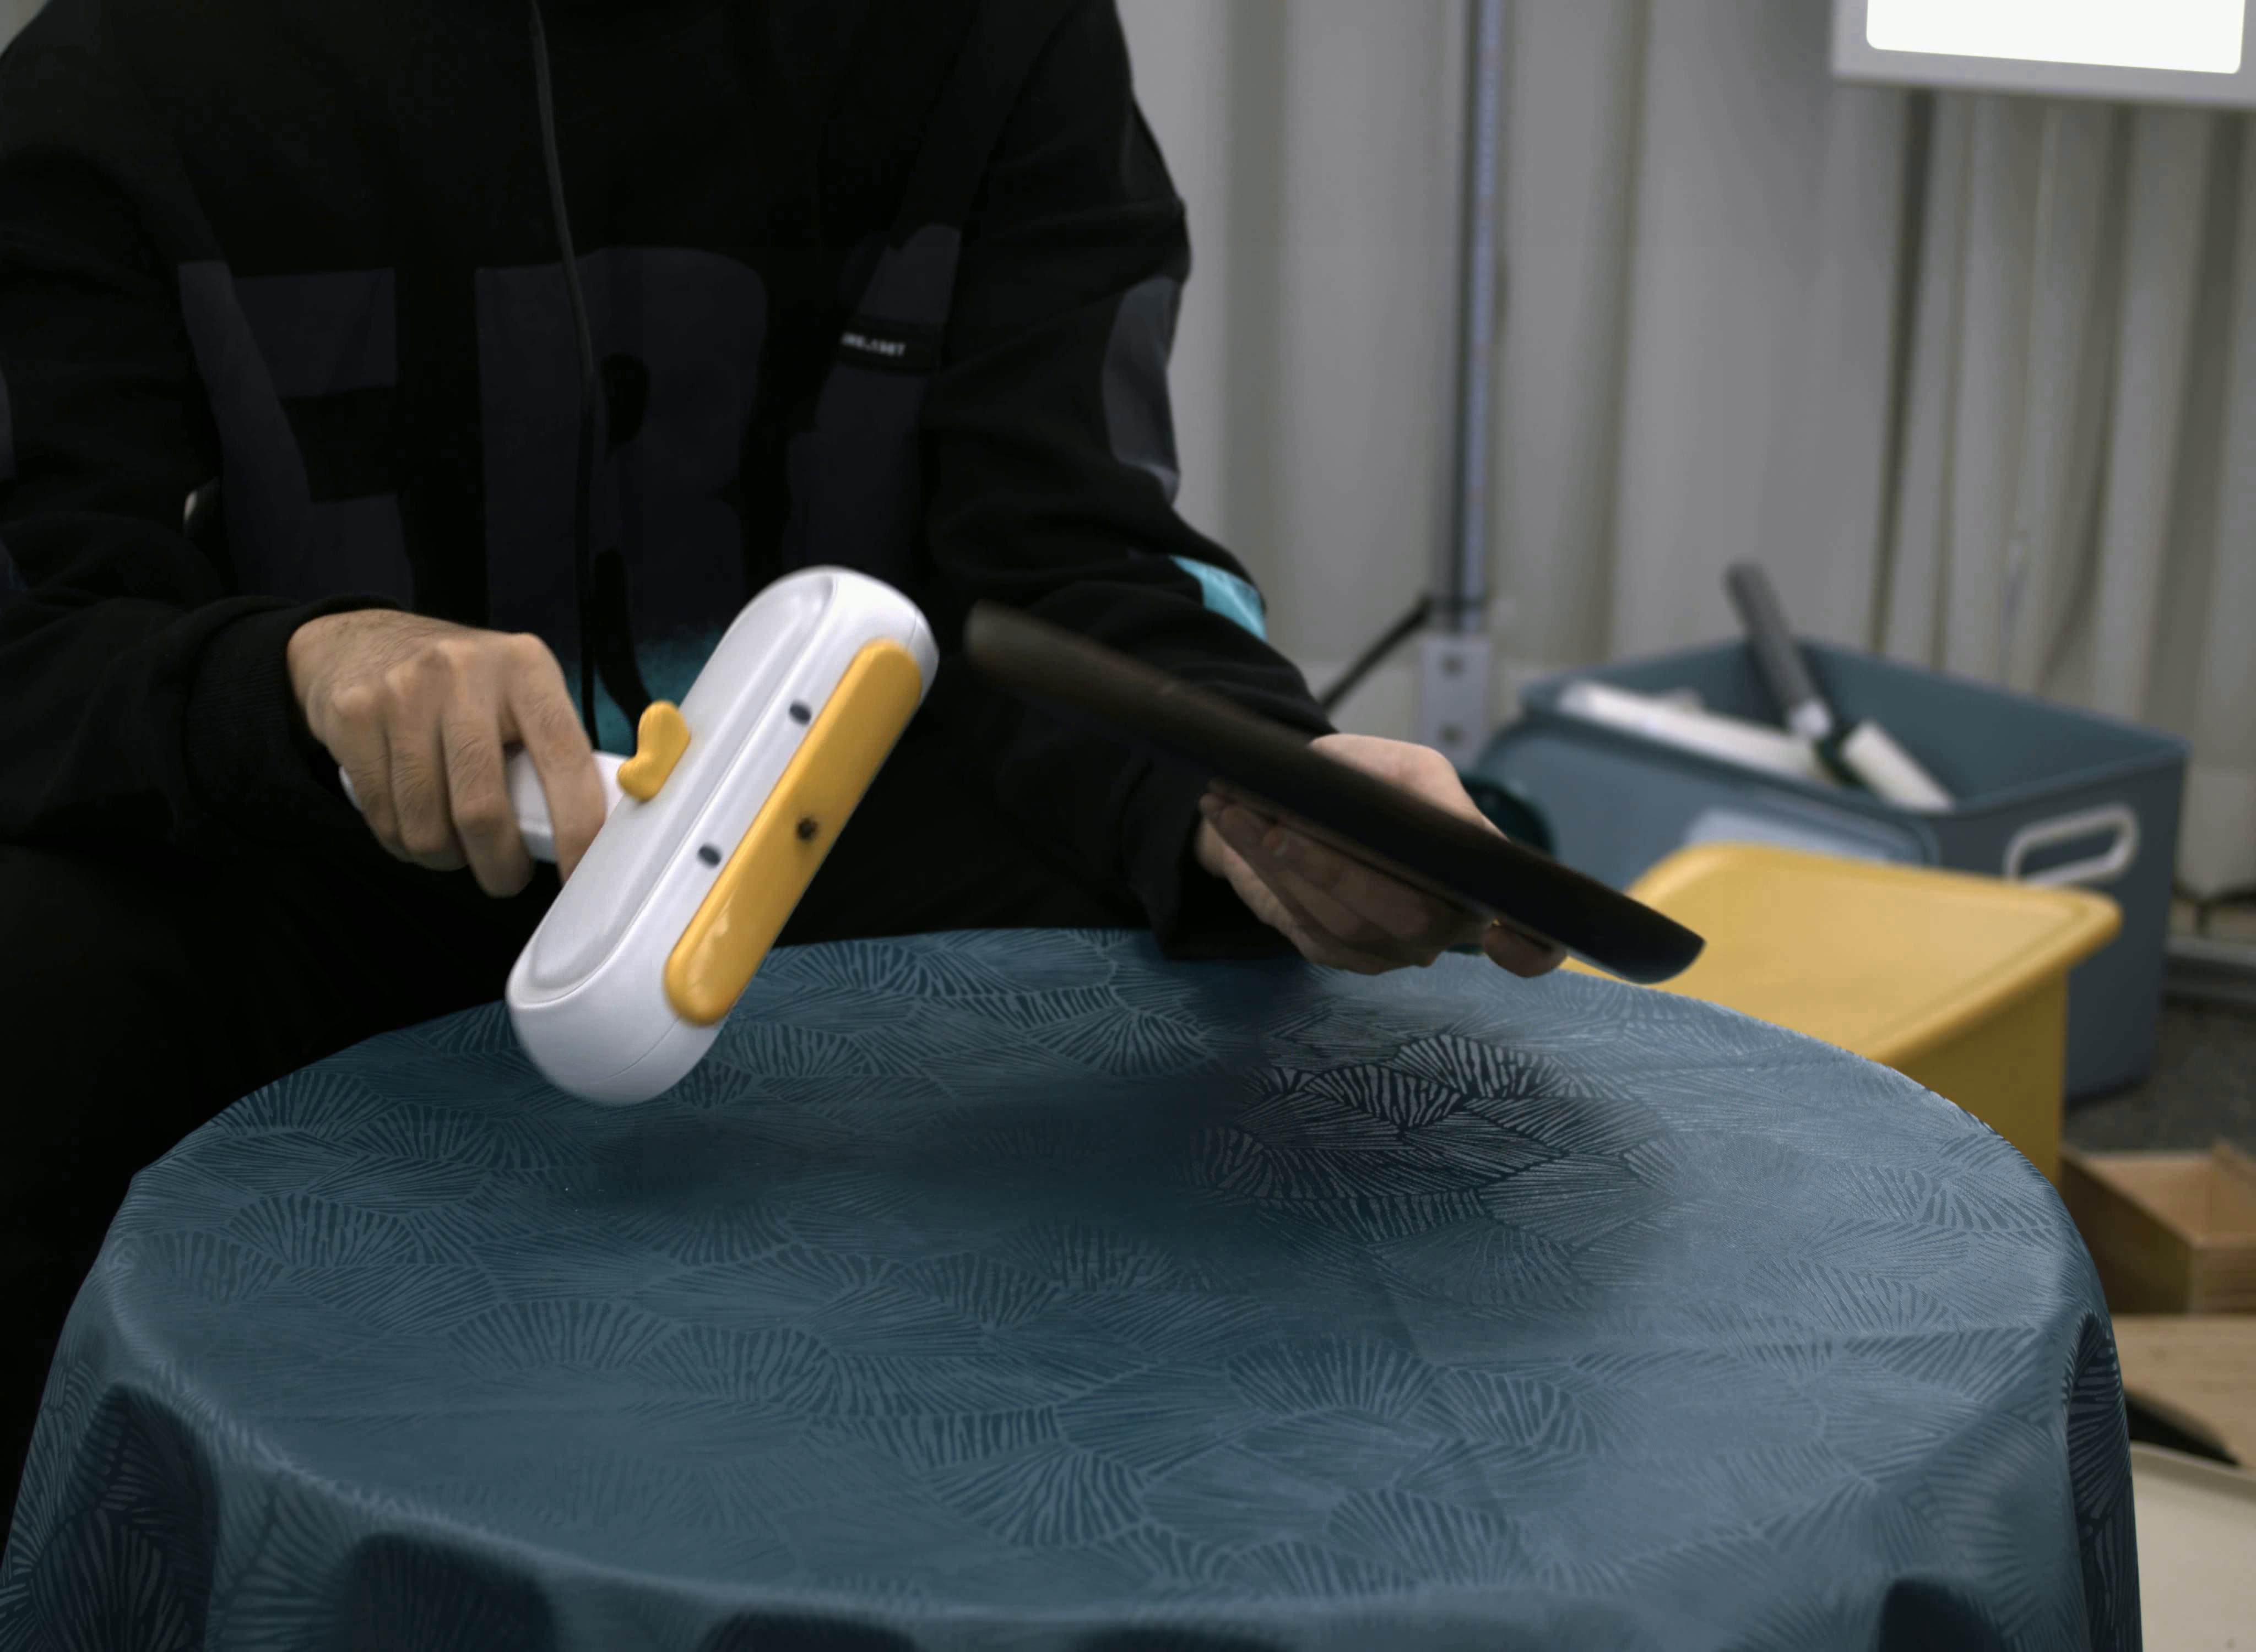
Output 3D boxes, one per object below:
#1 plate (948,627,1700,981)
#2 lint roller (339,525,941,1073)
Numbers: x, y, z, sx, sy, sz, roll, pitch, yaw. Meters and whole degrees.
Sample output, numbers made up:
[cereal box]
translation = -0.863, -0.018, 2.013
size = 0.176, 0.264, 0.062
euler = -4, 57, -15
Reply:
[plate]
translation = 0.059, -0.006, 1.642
size = 0.254, 0.029, 0.255
euler = 24, -1, 1
[lint roller]
translation = -0.168, -0.011, 1.663
size = 0.190, 0.075, 0.192
euler = -3, 54, 41
